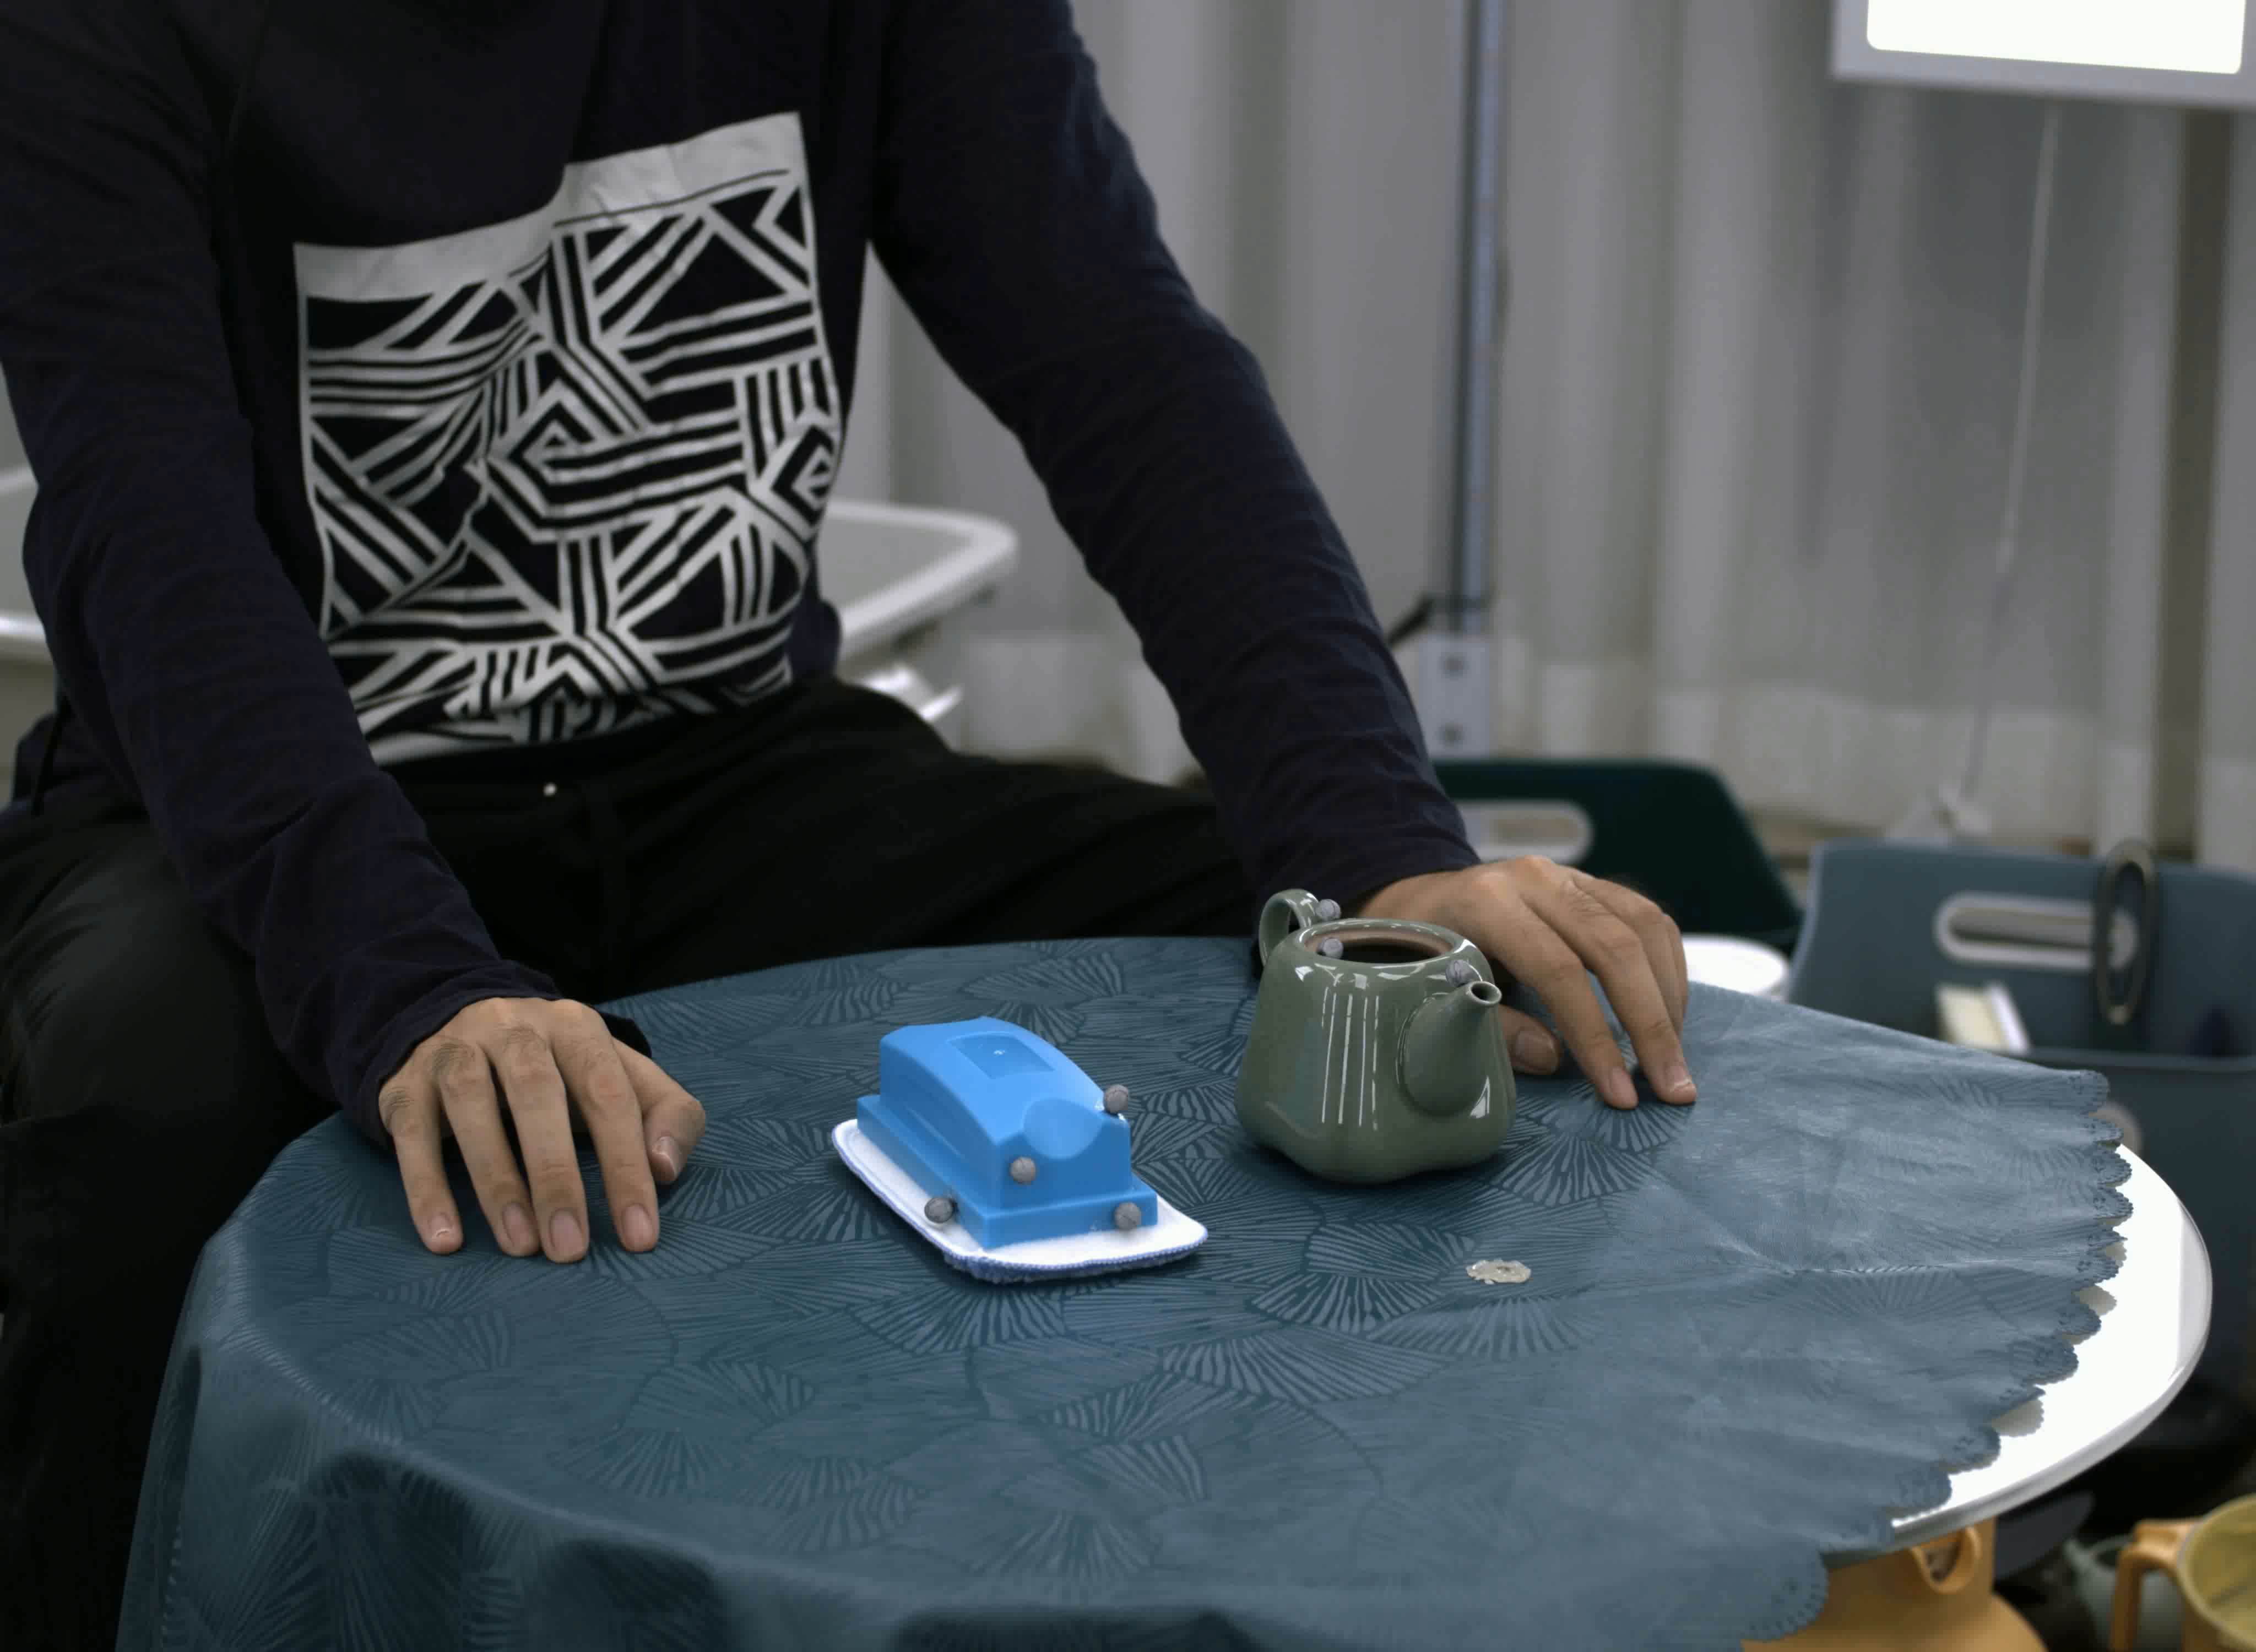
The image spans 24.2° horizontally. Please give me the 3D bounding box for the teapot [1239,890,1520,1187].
[{"bbox_3d":[0.079,0.068,1.652,0.080,0.076,0.131,-9,17,-28],"label":"teapot"}]

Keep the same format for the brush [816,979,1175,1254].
[{"bbox_3d":[-0.039,0.086,1.605,0.084,0.056,0.142,-1,19,-20],"label":"brush"}]
